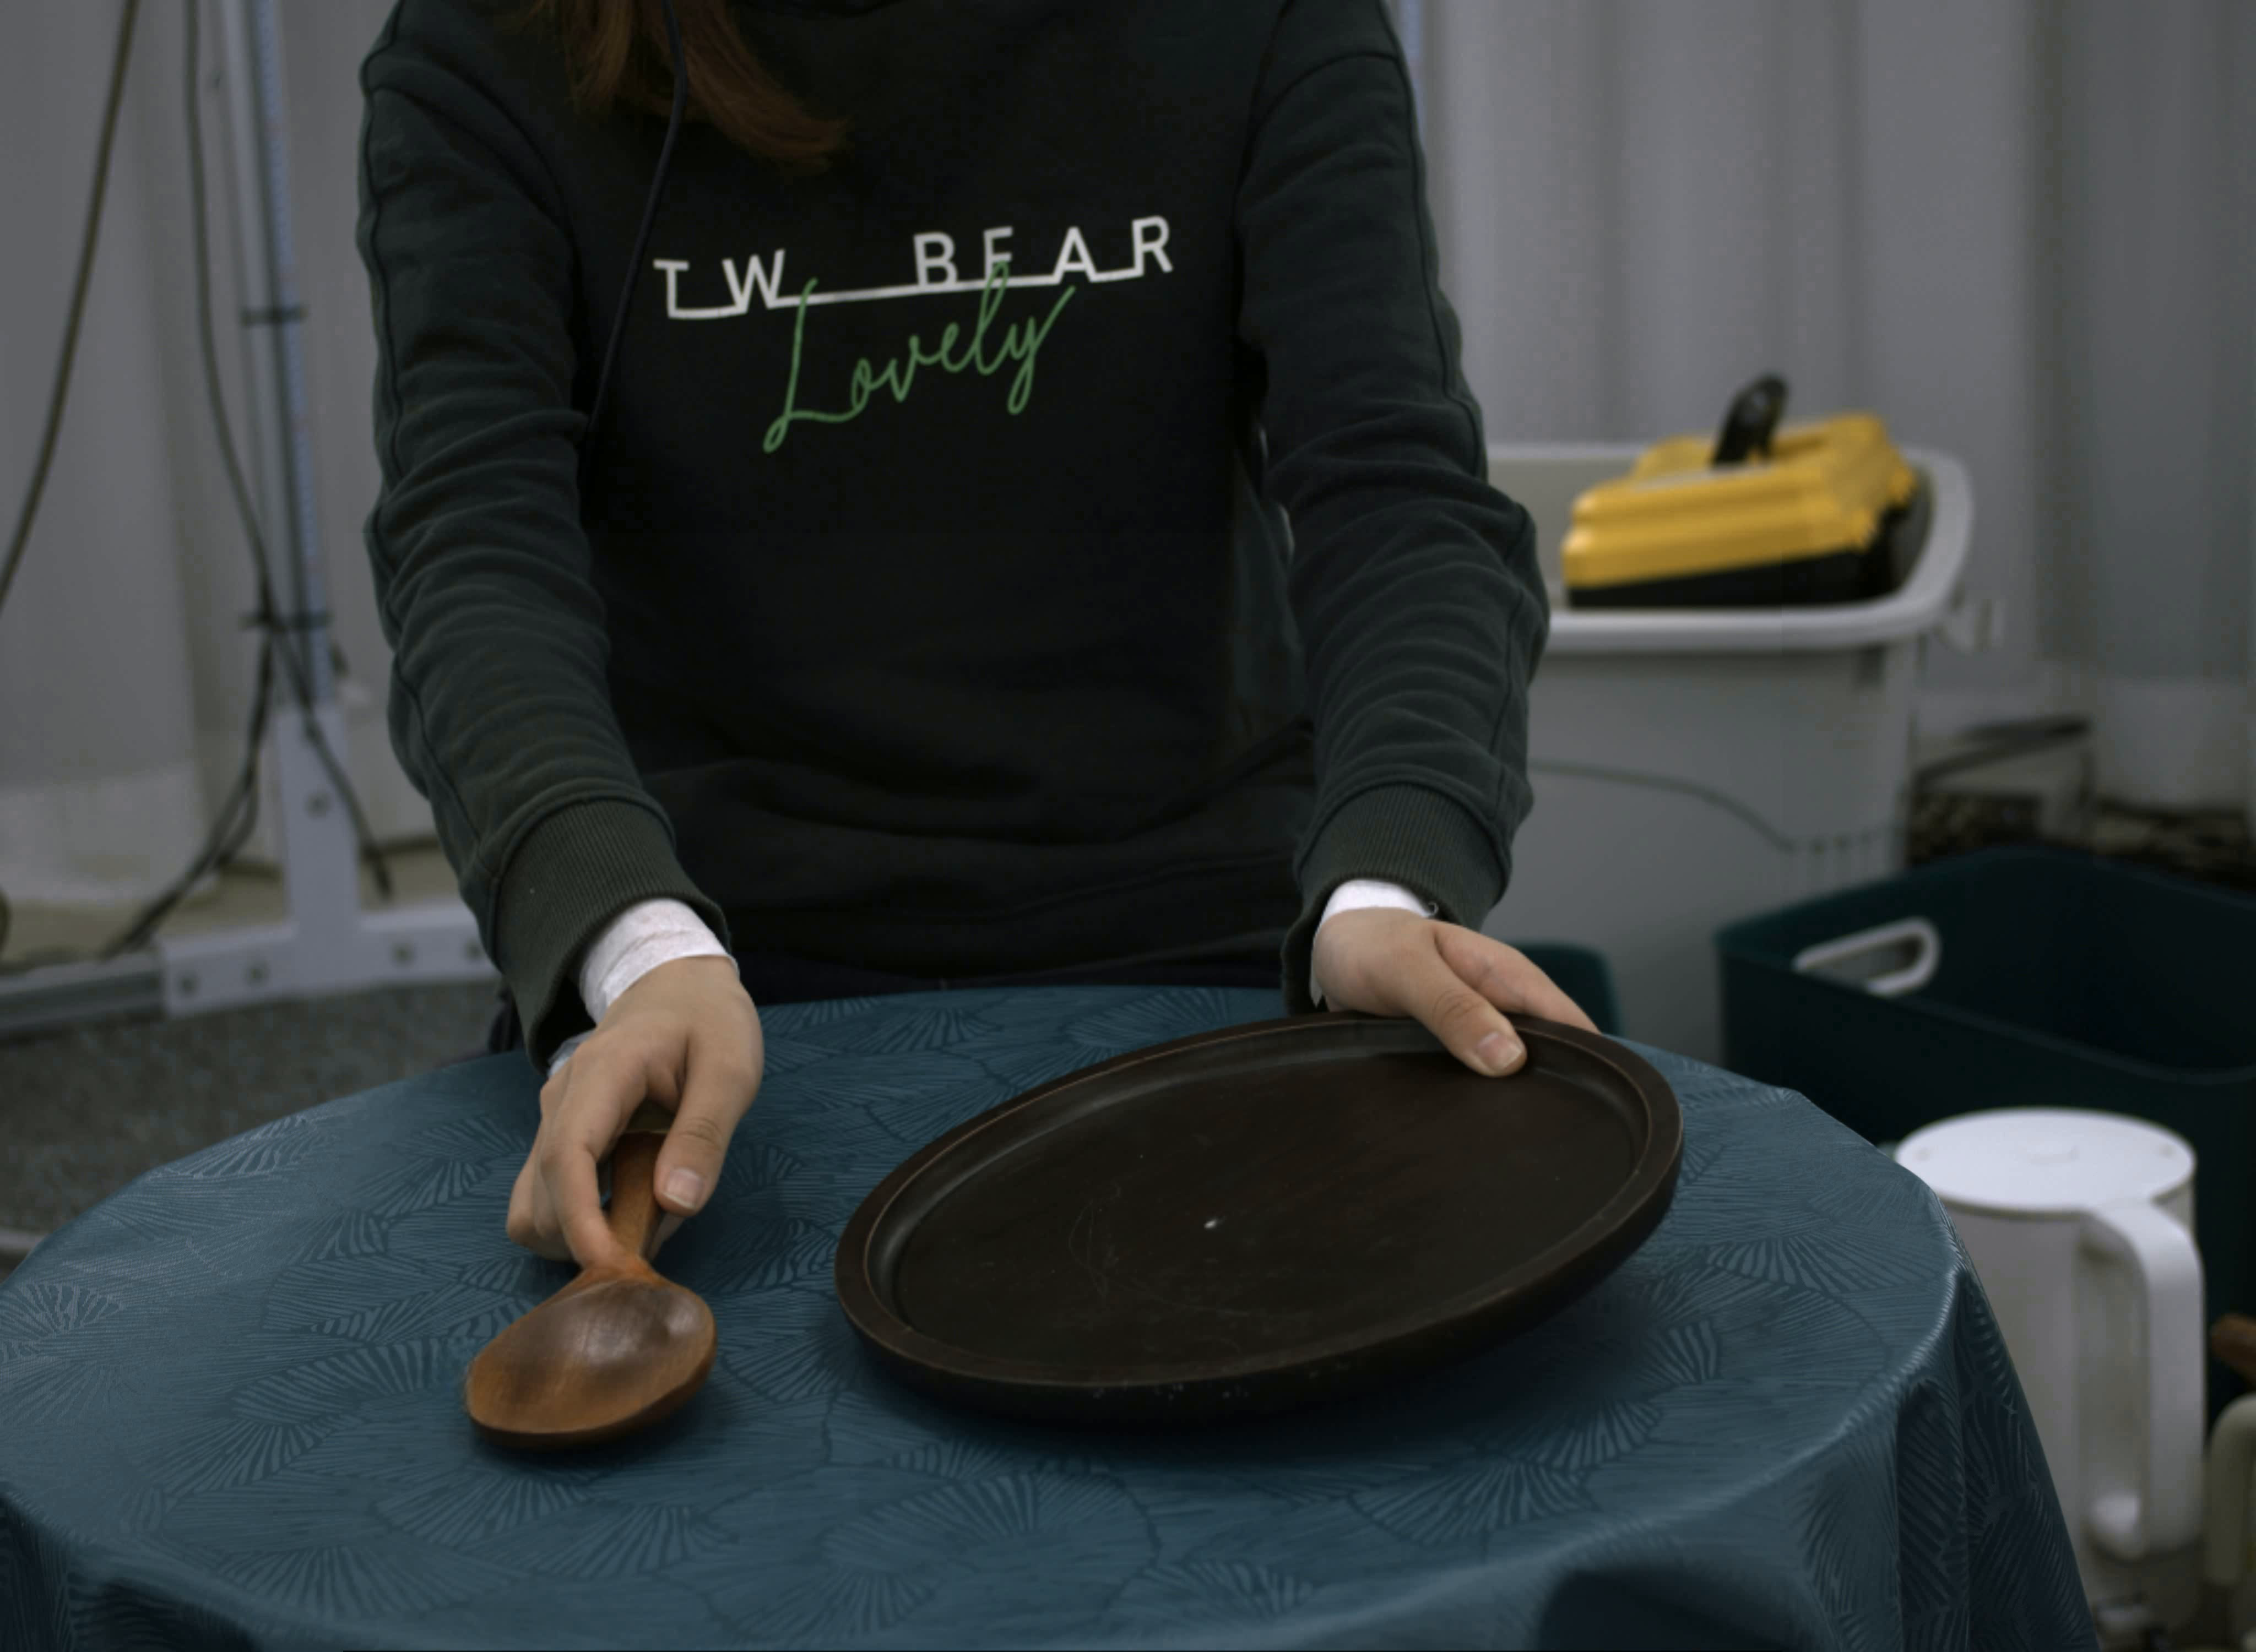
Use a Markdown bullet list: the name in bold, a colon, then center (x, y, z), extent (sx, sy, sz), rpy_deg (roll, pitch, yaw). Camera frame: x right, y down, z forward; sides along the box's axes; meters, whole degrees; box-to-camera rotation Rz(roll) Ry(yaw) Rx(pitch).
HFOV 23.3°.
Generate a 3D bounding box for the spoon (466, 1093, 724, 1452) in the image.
- **spoon**: center (-0.148, 0.131, 1.604), extent (0.075, 0.017, 0.218), rpy_deg (-11, 22, 6)

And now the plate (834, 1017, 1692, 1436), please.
- **plate**: center (0.040, 0.114, 1.593), extent (0.254, 0.029, 0.257), rpy_deg (-10, 20, 3)
